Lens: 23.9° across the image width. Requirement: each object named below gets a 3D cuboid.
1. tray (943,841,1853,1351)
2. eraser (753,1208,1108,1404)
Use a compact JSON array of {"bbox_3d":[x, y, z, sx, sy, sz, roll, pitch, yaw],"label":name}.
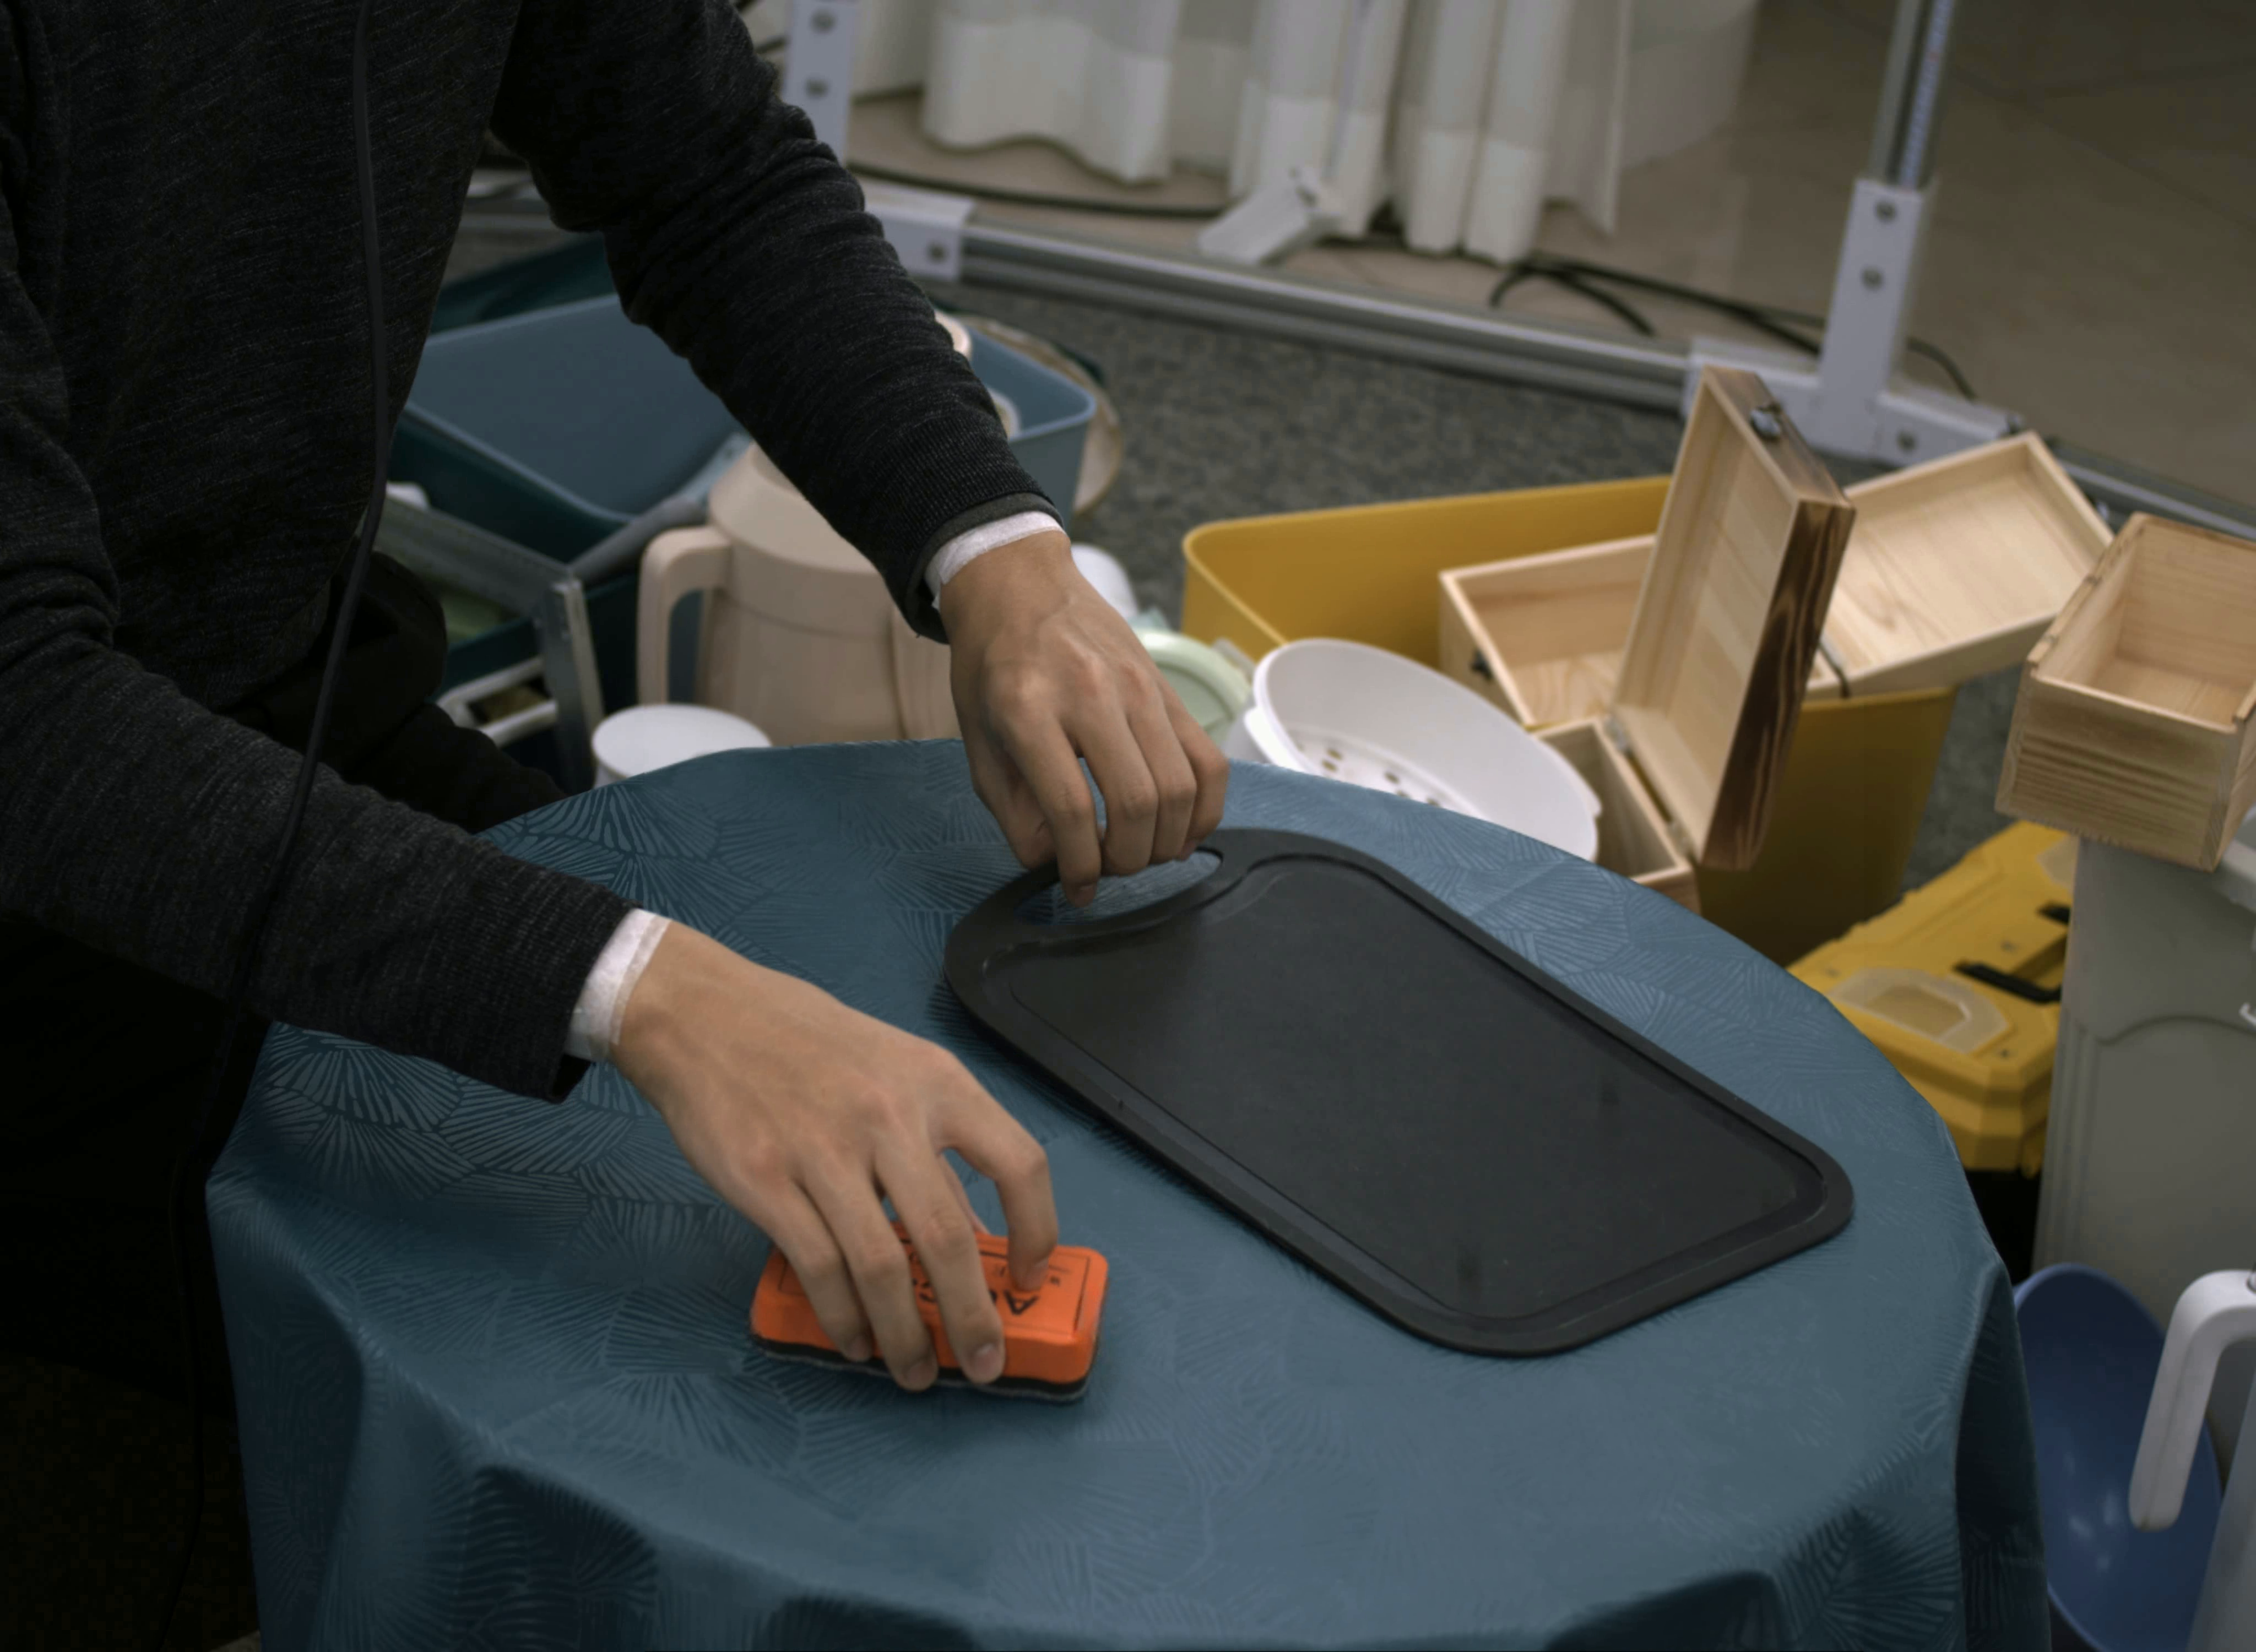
[{"bbox_3d":[0.086,0.085,1.879,0.210,0.010,0.328,-16,37,-38],"label":"tray"},{"bbox_3d":[-0.063,0.153,1.700,0.108,0.023,0.059,9,27,6],"label":"eraser"}]
